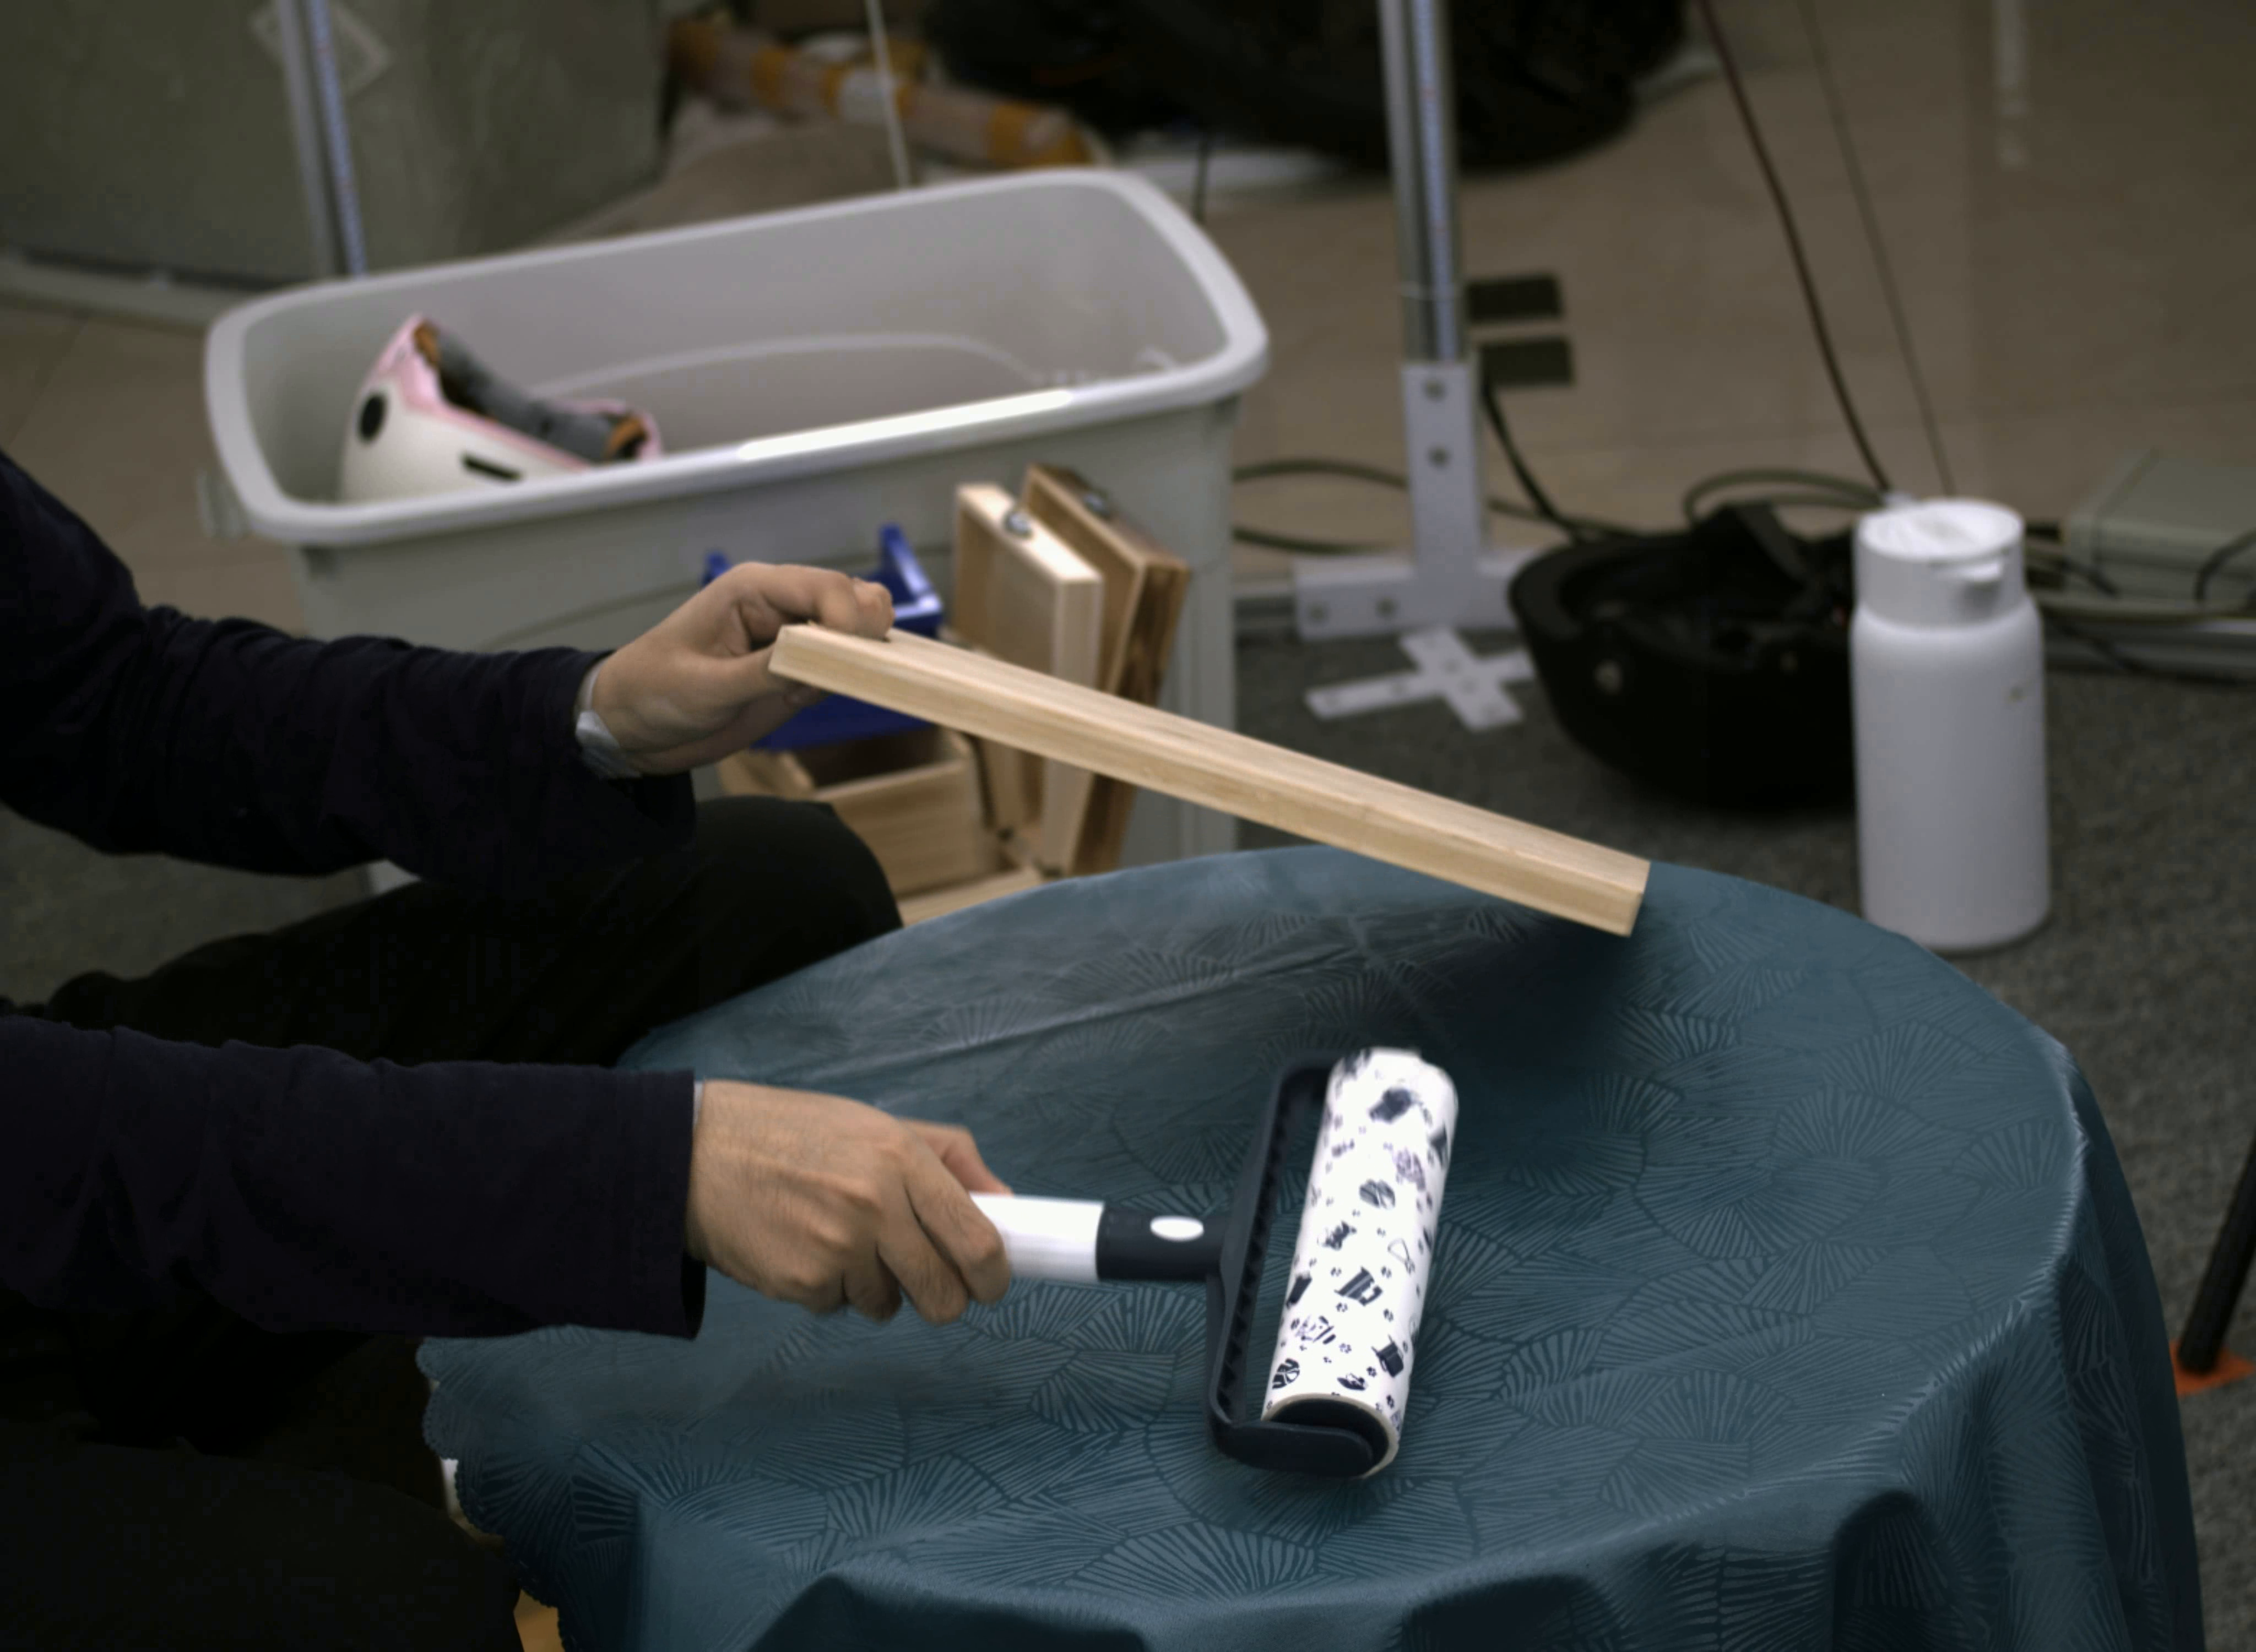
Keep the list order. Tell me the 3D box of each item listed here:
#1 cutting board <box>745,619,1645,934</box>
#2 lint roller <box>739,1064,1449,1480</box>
[{"bbox_3d":[0.034,-0.022,2.228,0.348,0.024,0.250,17,4,4],"label":"cutting board"},{"bbox_3d":[-0.019,0.151,2.004,0.246,0.051,0.173,3,43,10],"label":"lint roller"}]
